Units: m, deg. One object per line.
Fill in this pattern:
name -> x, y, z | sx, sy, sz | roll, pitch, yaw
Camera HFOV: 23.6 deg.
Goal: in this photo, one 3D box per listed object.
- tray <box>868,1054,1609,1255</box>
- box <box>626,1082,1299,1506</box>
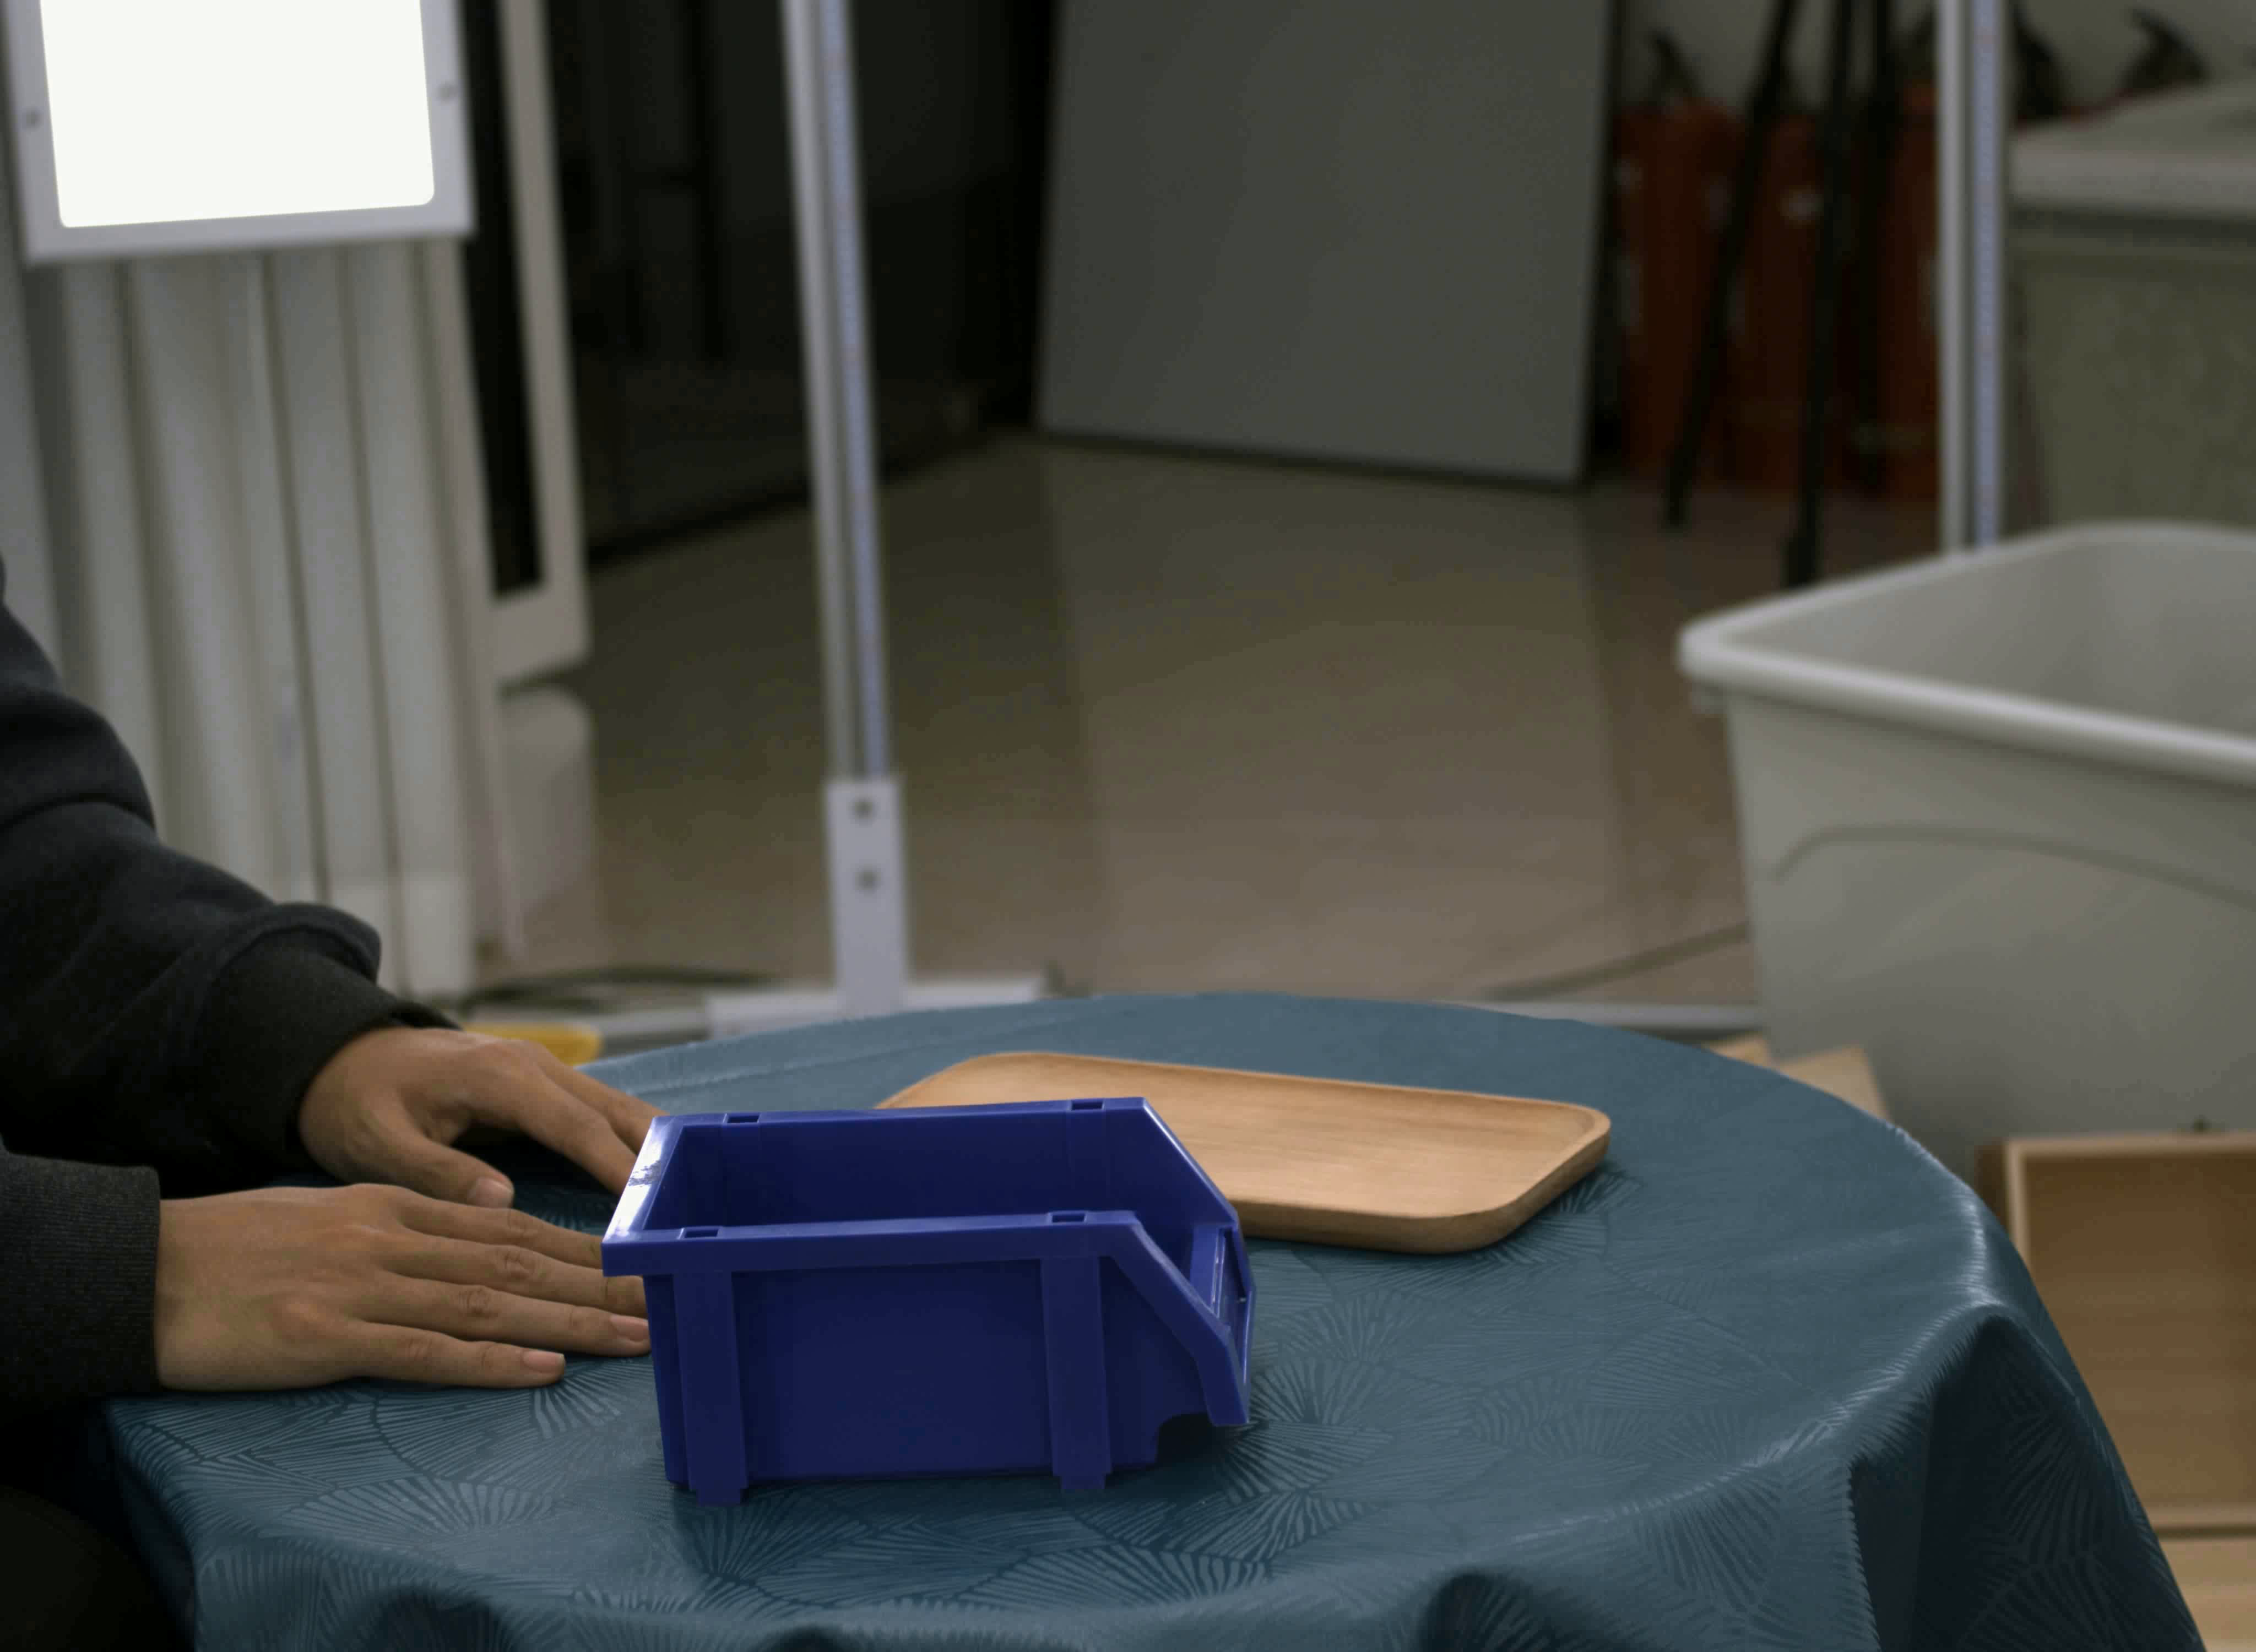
tray -> 0.030, 0.107, 1.780 | 0.251, 0.023, 0.128 | 3, 13, 30
box -> -0.043, 0.132, 1.559 | 0.178, 0.083, 0.124 | -6, 13, 7
